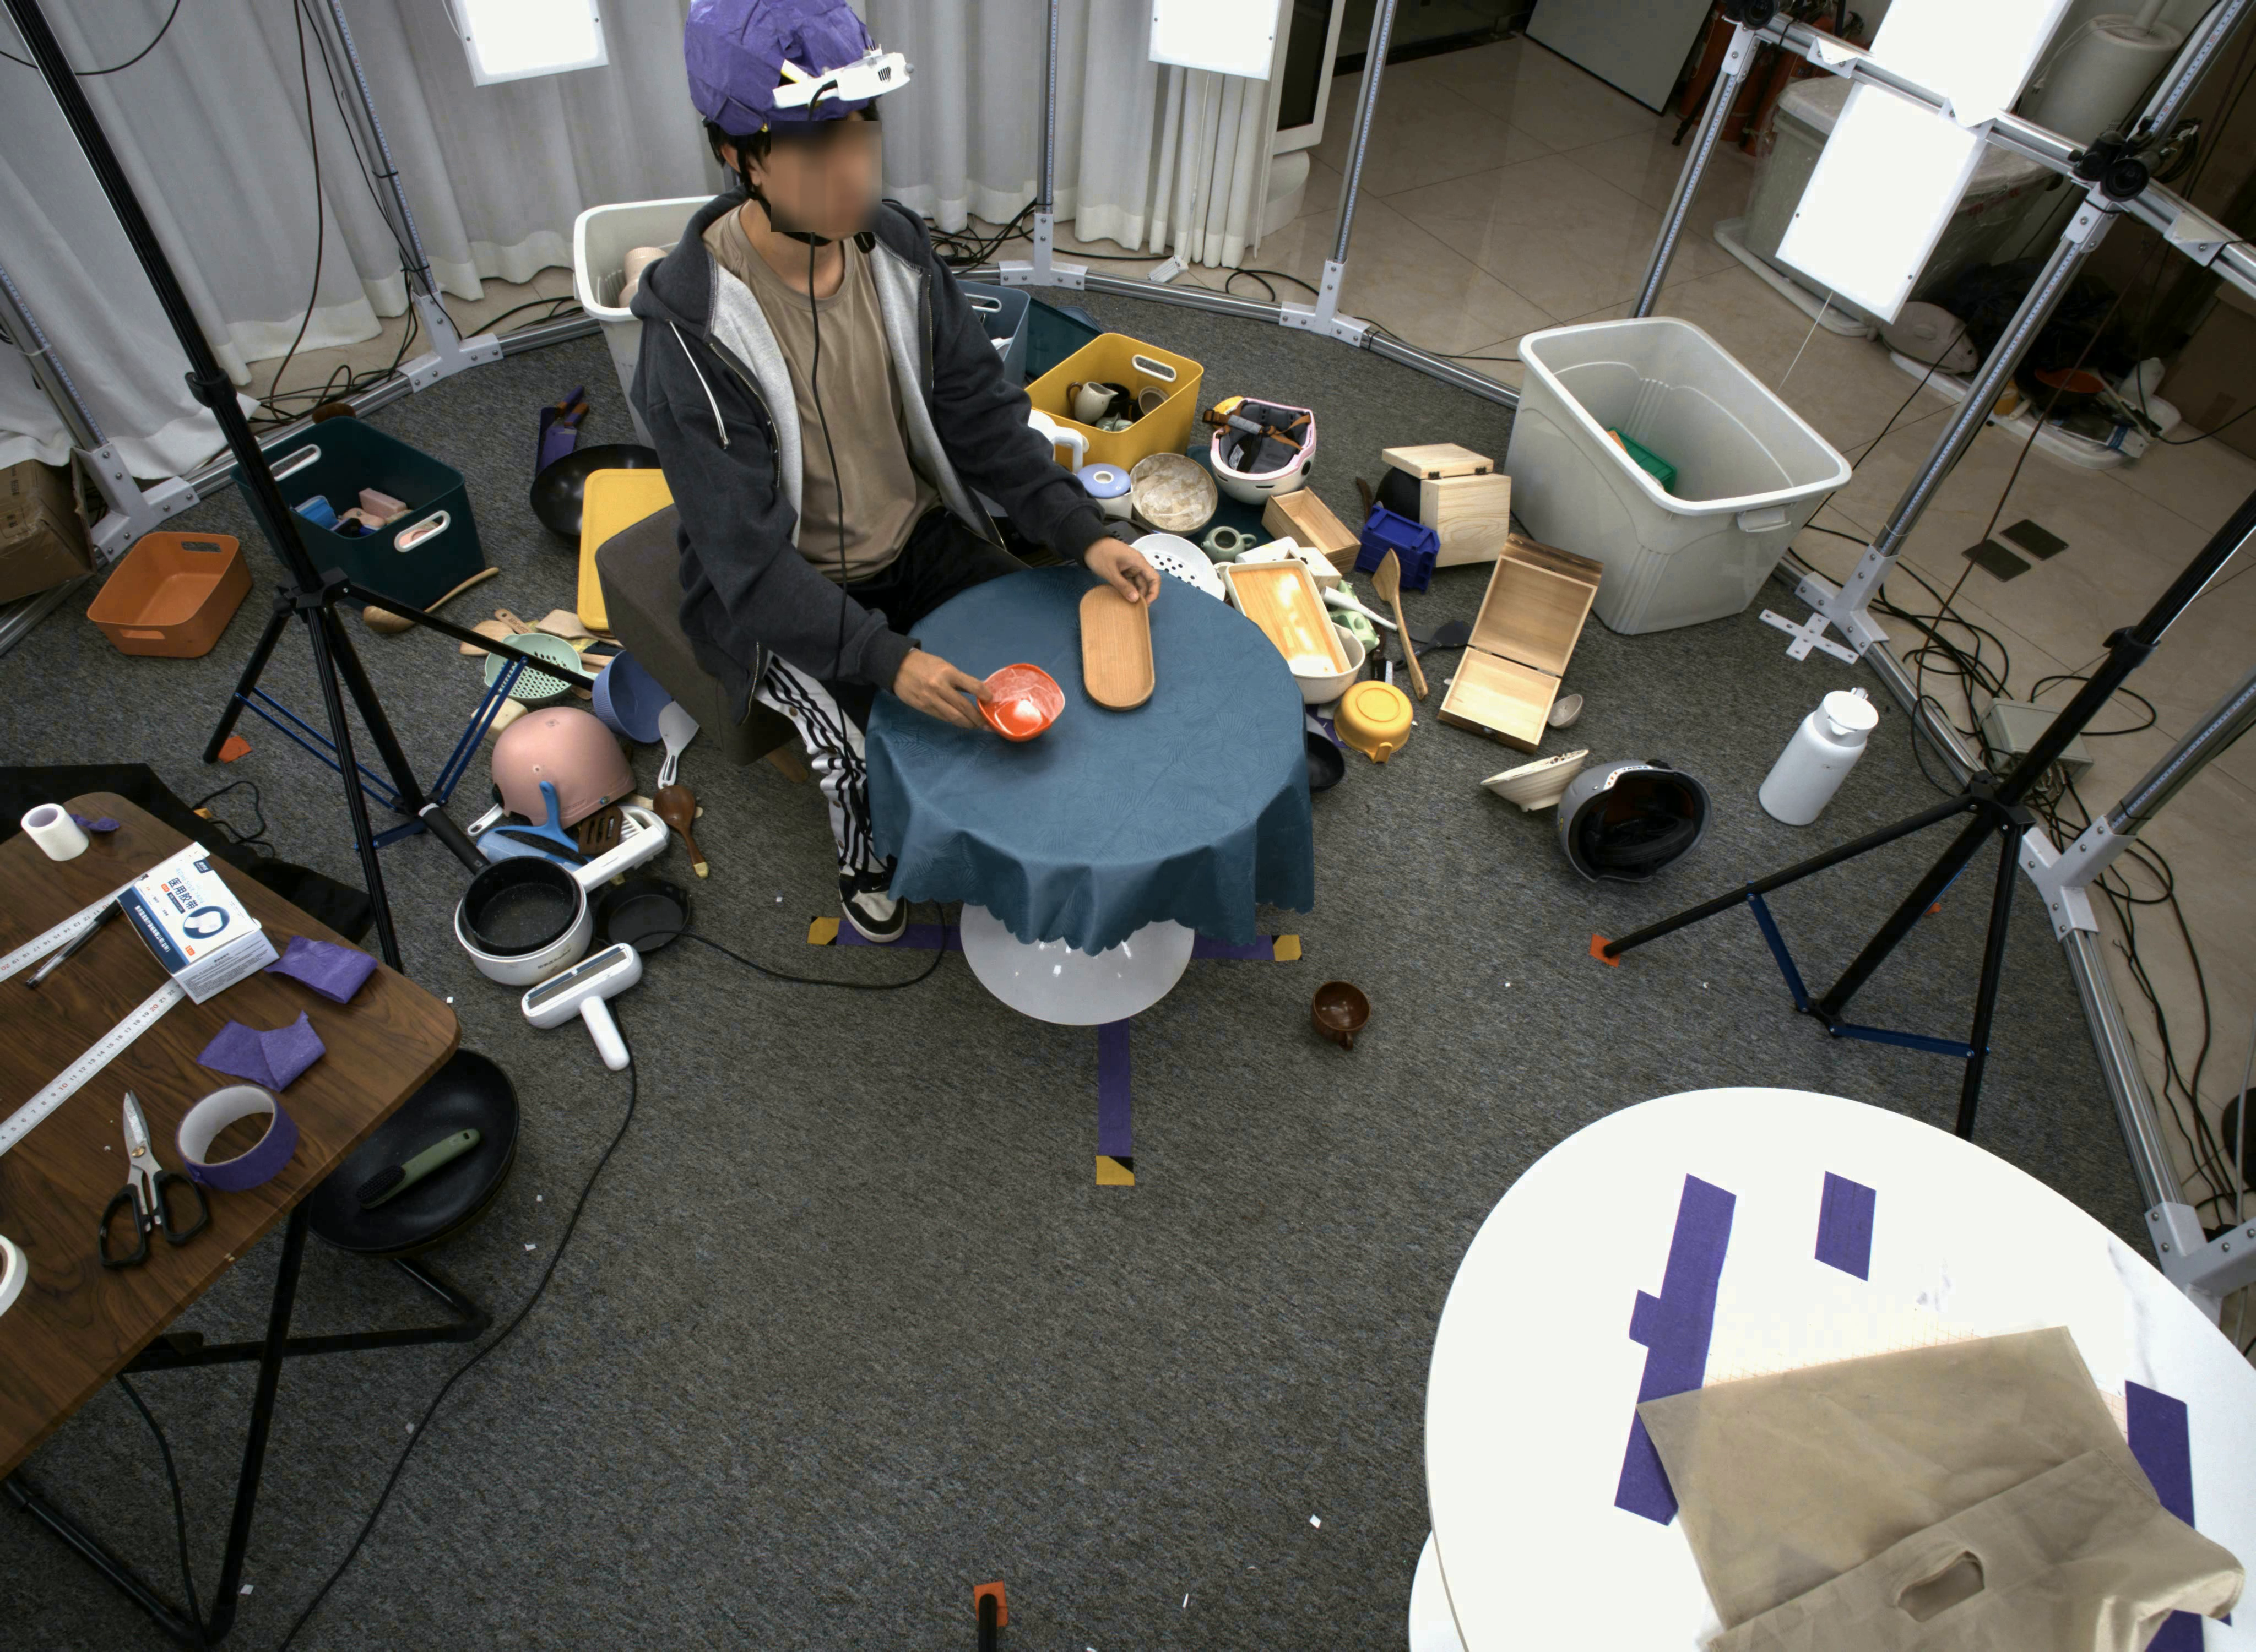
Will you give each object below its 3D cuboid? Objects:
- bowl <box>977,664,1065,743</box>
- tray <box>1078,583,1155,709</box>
[{"bbox_3d":[-0.146,-0.158,1.742,0.119,0.050,0.121,3,59,-5],"label":"bowl"},{"bbox_3d":[-0.018,-0.264,1.867,0.101,0.020,0.237,-3,54,-5],"label":"tray"}]
